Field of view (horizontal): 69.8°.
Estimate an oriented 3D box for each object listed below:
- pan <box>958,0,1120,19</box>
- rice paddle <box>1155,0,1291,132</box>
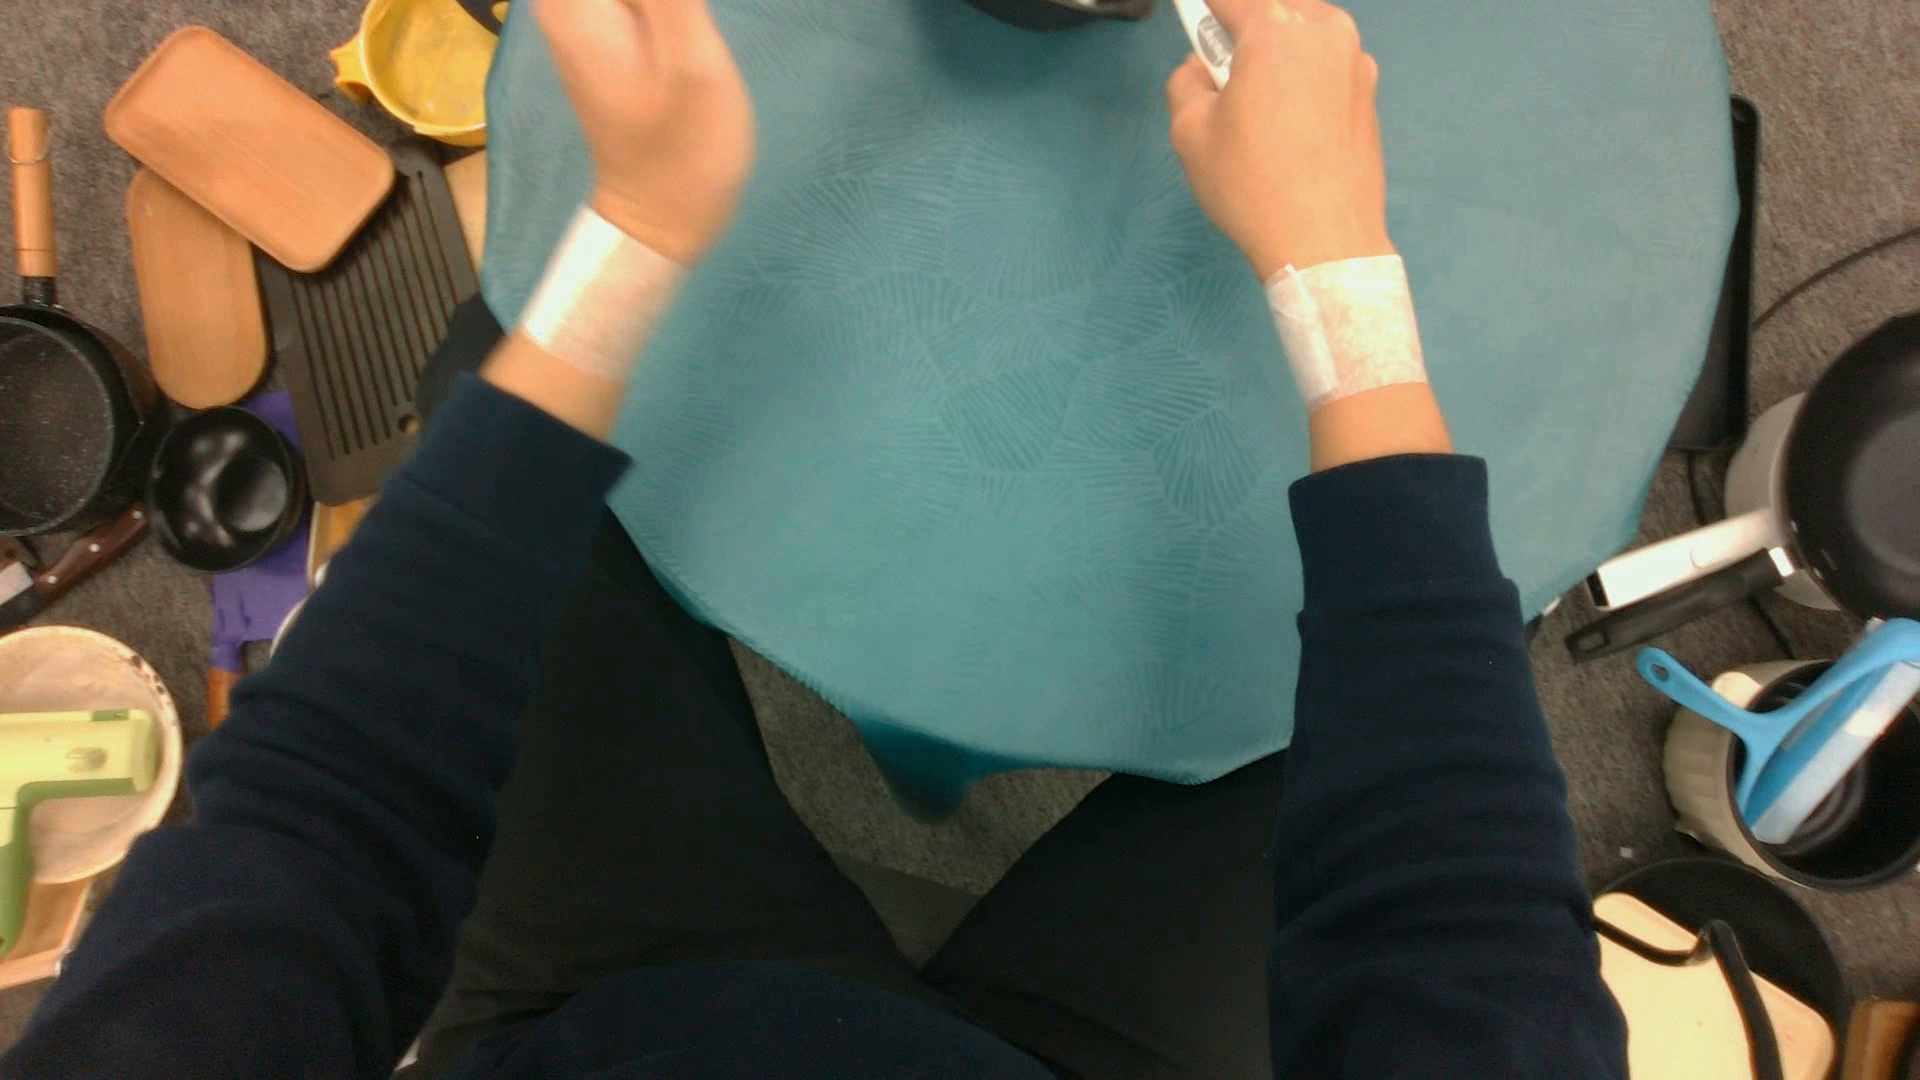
[{"bbox_3d":[-0.040,-0.259,0.554,0.169,0.049,0.326,51,48,3],"label":"pan"},{"bbox_3d":[0.081,-0.262,0.608,0.068,0.029,0.205,-43,60,33],"label":"rice paddle"}]
